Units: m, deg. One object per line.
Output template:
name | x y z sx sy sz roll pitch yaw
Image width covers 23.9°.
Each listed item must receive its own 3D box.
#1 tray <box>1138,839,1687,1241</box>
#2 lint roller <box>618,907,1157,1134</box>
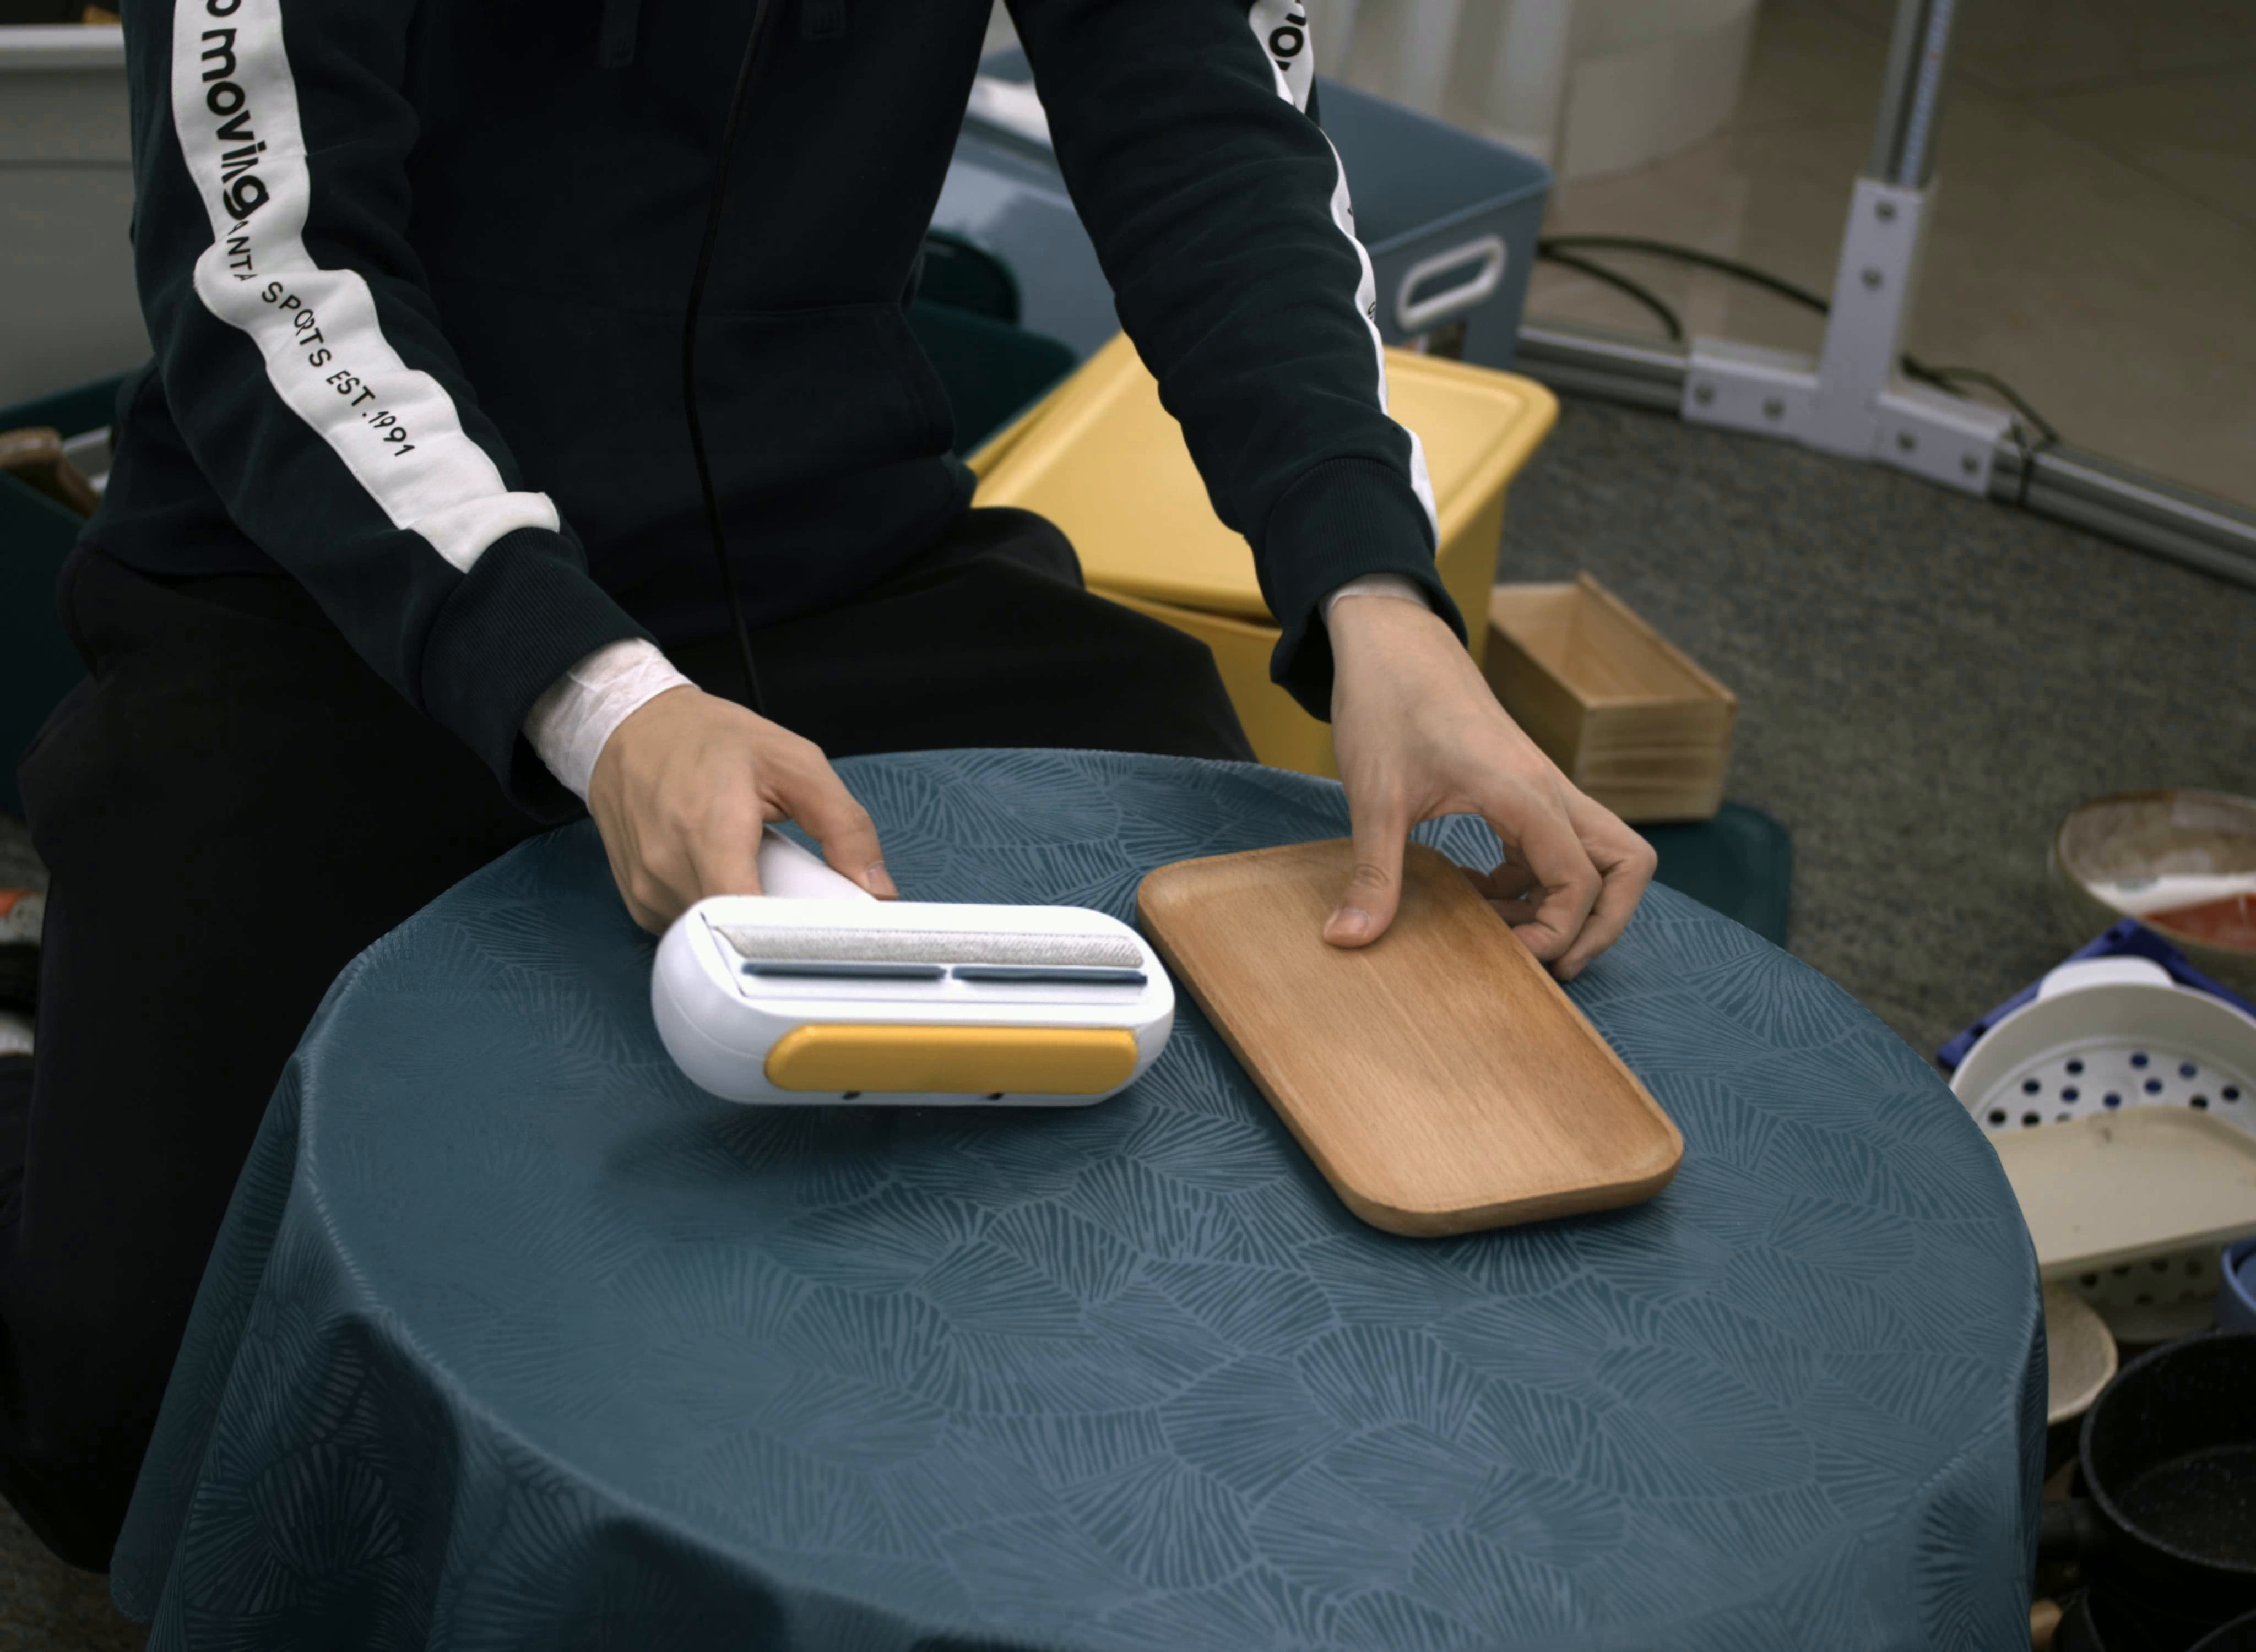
tray | 0.097 0.073 1.895 0.130 0.023 0.253 -5 28 -19
lint roller | -0.106 0.054 1.864 0.191 0.074 0.194 2 18 -27
